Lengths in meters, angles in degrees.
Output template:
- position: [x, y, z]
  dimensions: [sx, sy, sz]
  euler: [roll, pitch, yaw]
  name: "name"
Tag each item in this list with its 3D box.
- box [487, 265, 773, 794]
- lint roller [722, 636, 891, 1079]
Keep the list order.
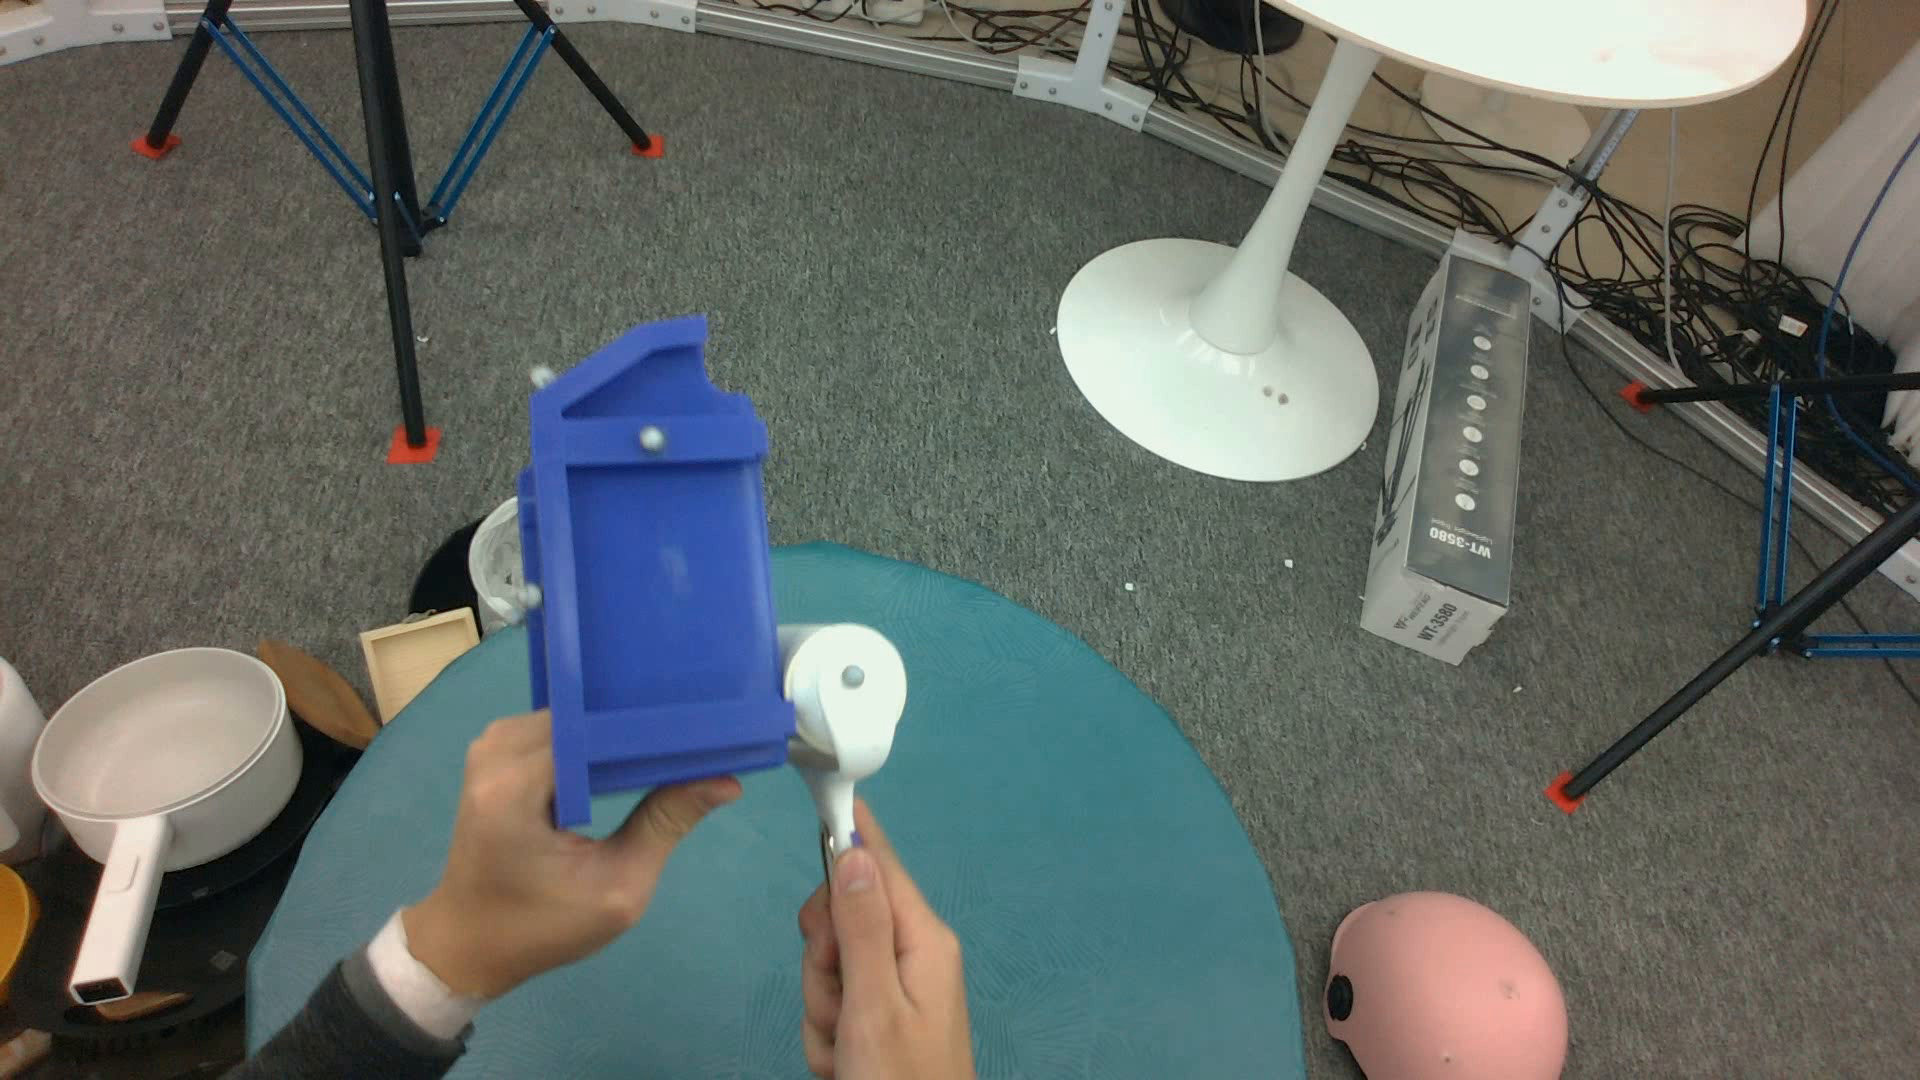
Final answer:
- position: [-0.134, 0.001, 0.534]
  dimensions: [0.082, 0.124, 0.179]
  euler: [-6, 80, -22]
  name: "box"
- position: [-0.045, 0.124, 0.547]
  dimensions: [0.050, 0.132, 0.181]
  euler: [-21, 92, -24]
  name: "lint roller"
